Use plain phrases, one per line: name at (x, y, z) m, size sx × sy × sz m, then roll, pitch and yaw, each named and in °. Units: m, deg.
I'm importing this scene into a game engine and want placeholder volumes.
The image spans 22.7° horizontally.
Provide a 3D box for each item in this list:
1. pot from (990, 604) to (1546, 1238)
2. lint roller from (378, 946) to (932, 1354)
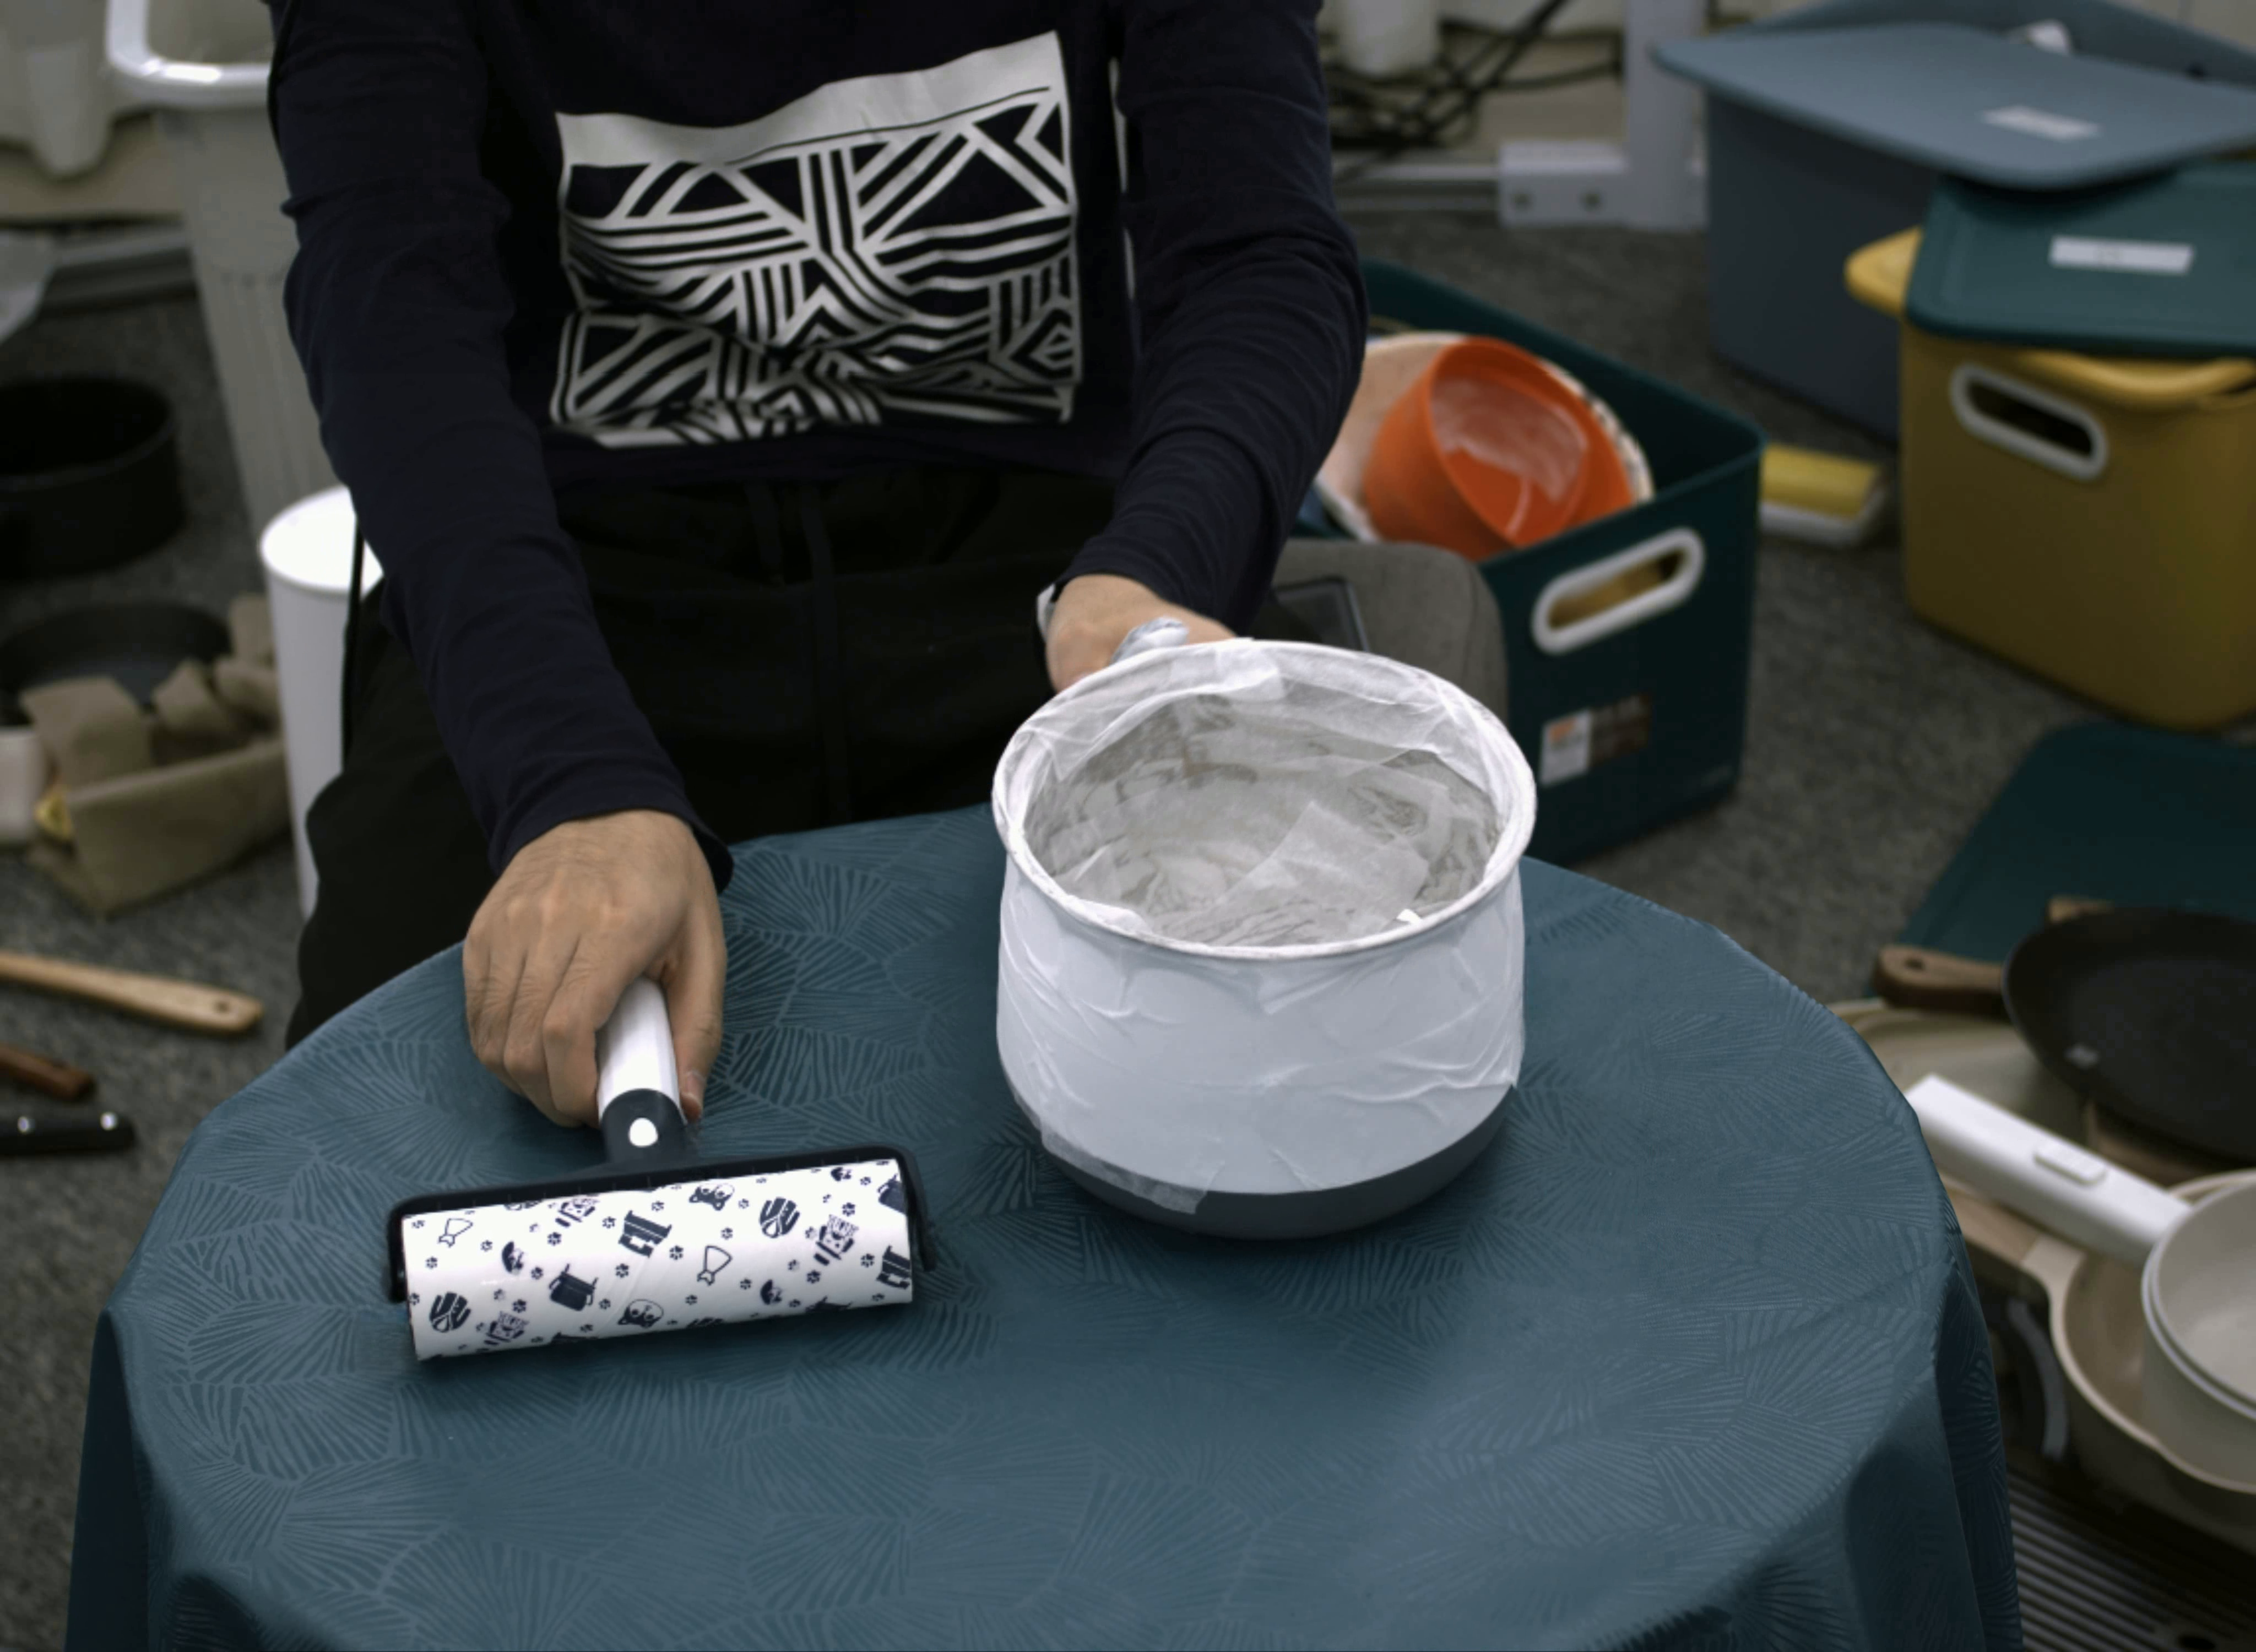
pot at (0.034, 0.023, 1.872) m, size 0.179 × 0.134 × 0.236 m, roll -9°, pitch 37°, yaw -19°
lint roller at (-0.166, 0.094, 1.883) m, size 0.176 × 0.050 × 0.250 m, roll -7°, pitch 26°, yaw -6°
